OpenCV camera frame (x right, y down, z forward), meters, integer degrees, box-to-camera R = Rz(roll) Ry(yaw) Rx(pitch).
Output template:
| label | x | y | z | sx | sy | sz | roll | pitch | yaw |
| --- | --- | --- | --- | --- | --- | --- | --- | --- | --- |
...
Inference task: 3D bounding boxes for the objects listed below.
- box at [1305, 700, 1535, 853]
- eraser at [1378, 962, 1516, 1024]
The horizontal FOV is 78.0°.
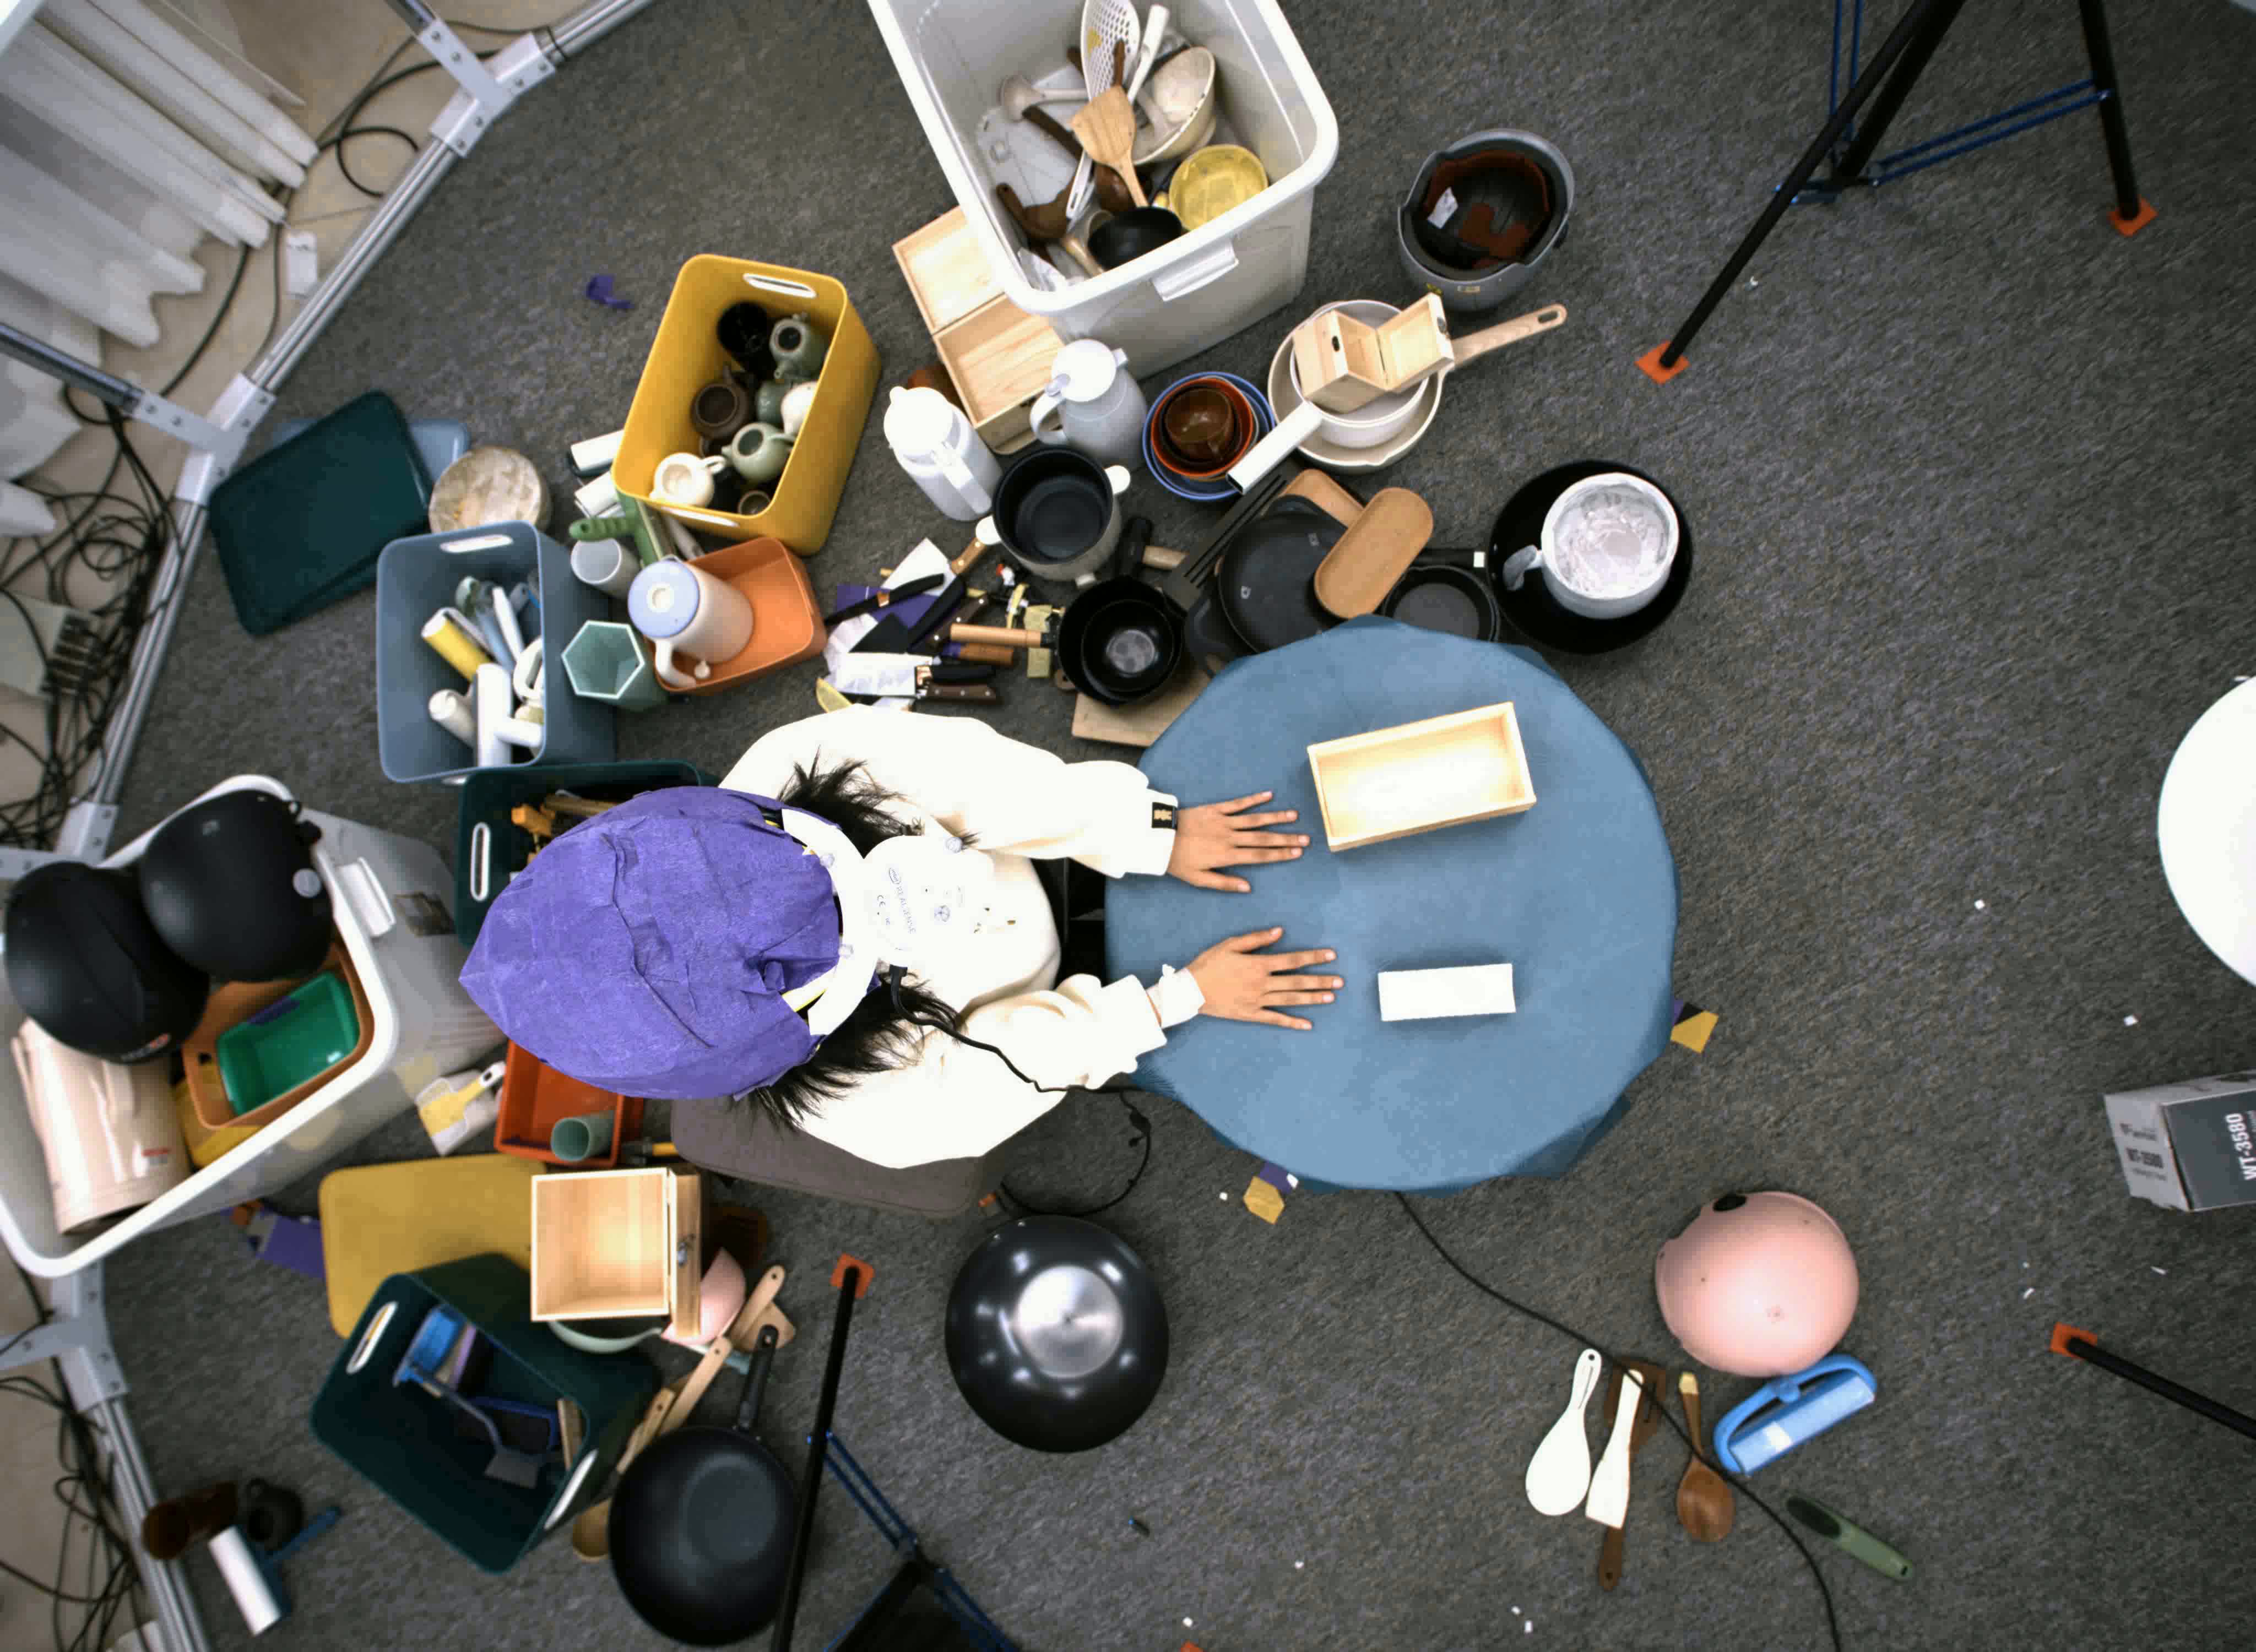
| label | x | y | z | sx | sy | sz | roll | pitch | yaw |
| --- | --- | --- | --- | --- | --- | --- | --- | --- | --- |
| box | 0.299 | -0.050 | 1.422 | 0.212 | 0.080 | 0.107 | -13 | 83 | 9 |
| eraser | 0.327 | 0.170 | 1.420 | 0.135 | 0.046 | 0.049 | -7 | 86 | 8 |
